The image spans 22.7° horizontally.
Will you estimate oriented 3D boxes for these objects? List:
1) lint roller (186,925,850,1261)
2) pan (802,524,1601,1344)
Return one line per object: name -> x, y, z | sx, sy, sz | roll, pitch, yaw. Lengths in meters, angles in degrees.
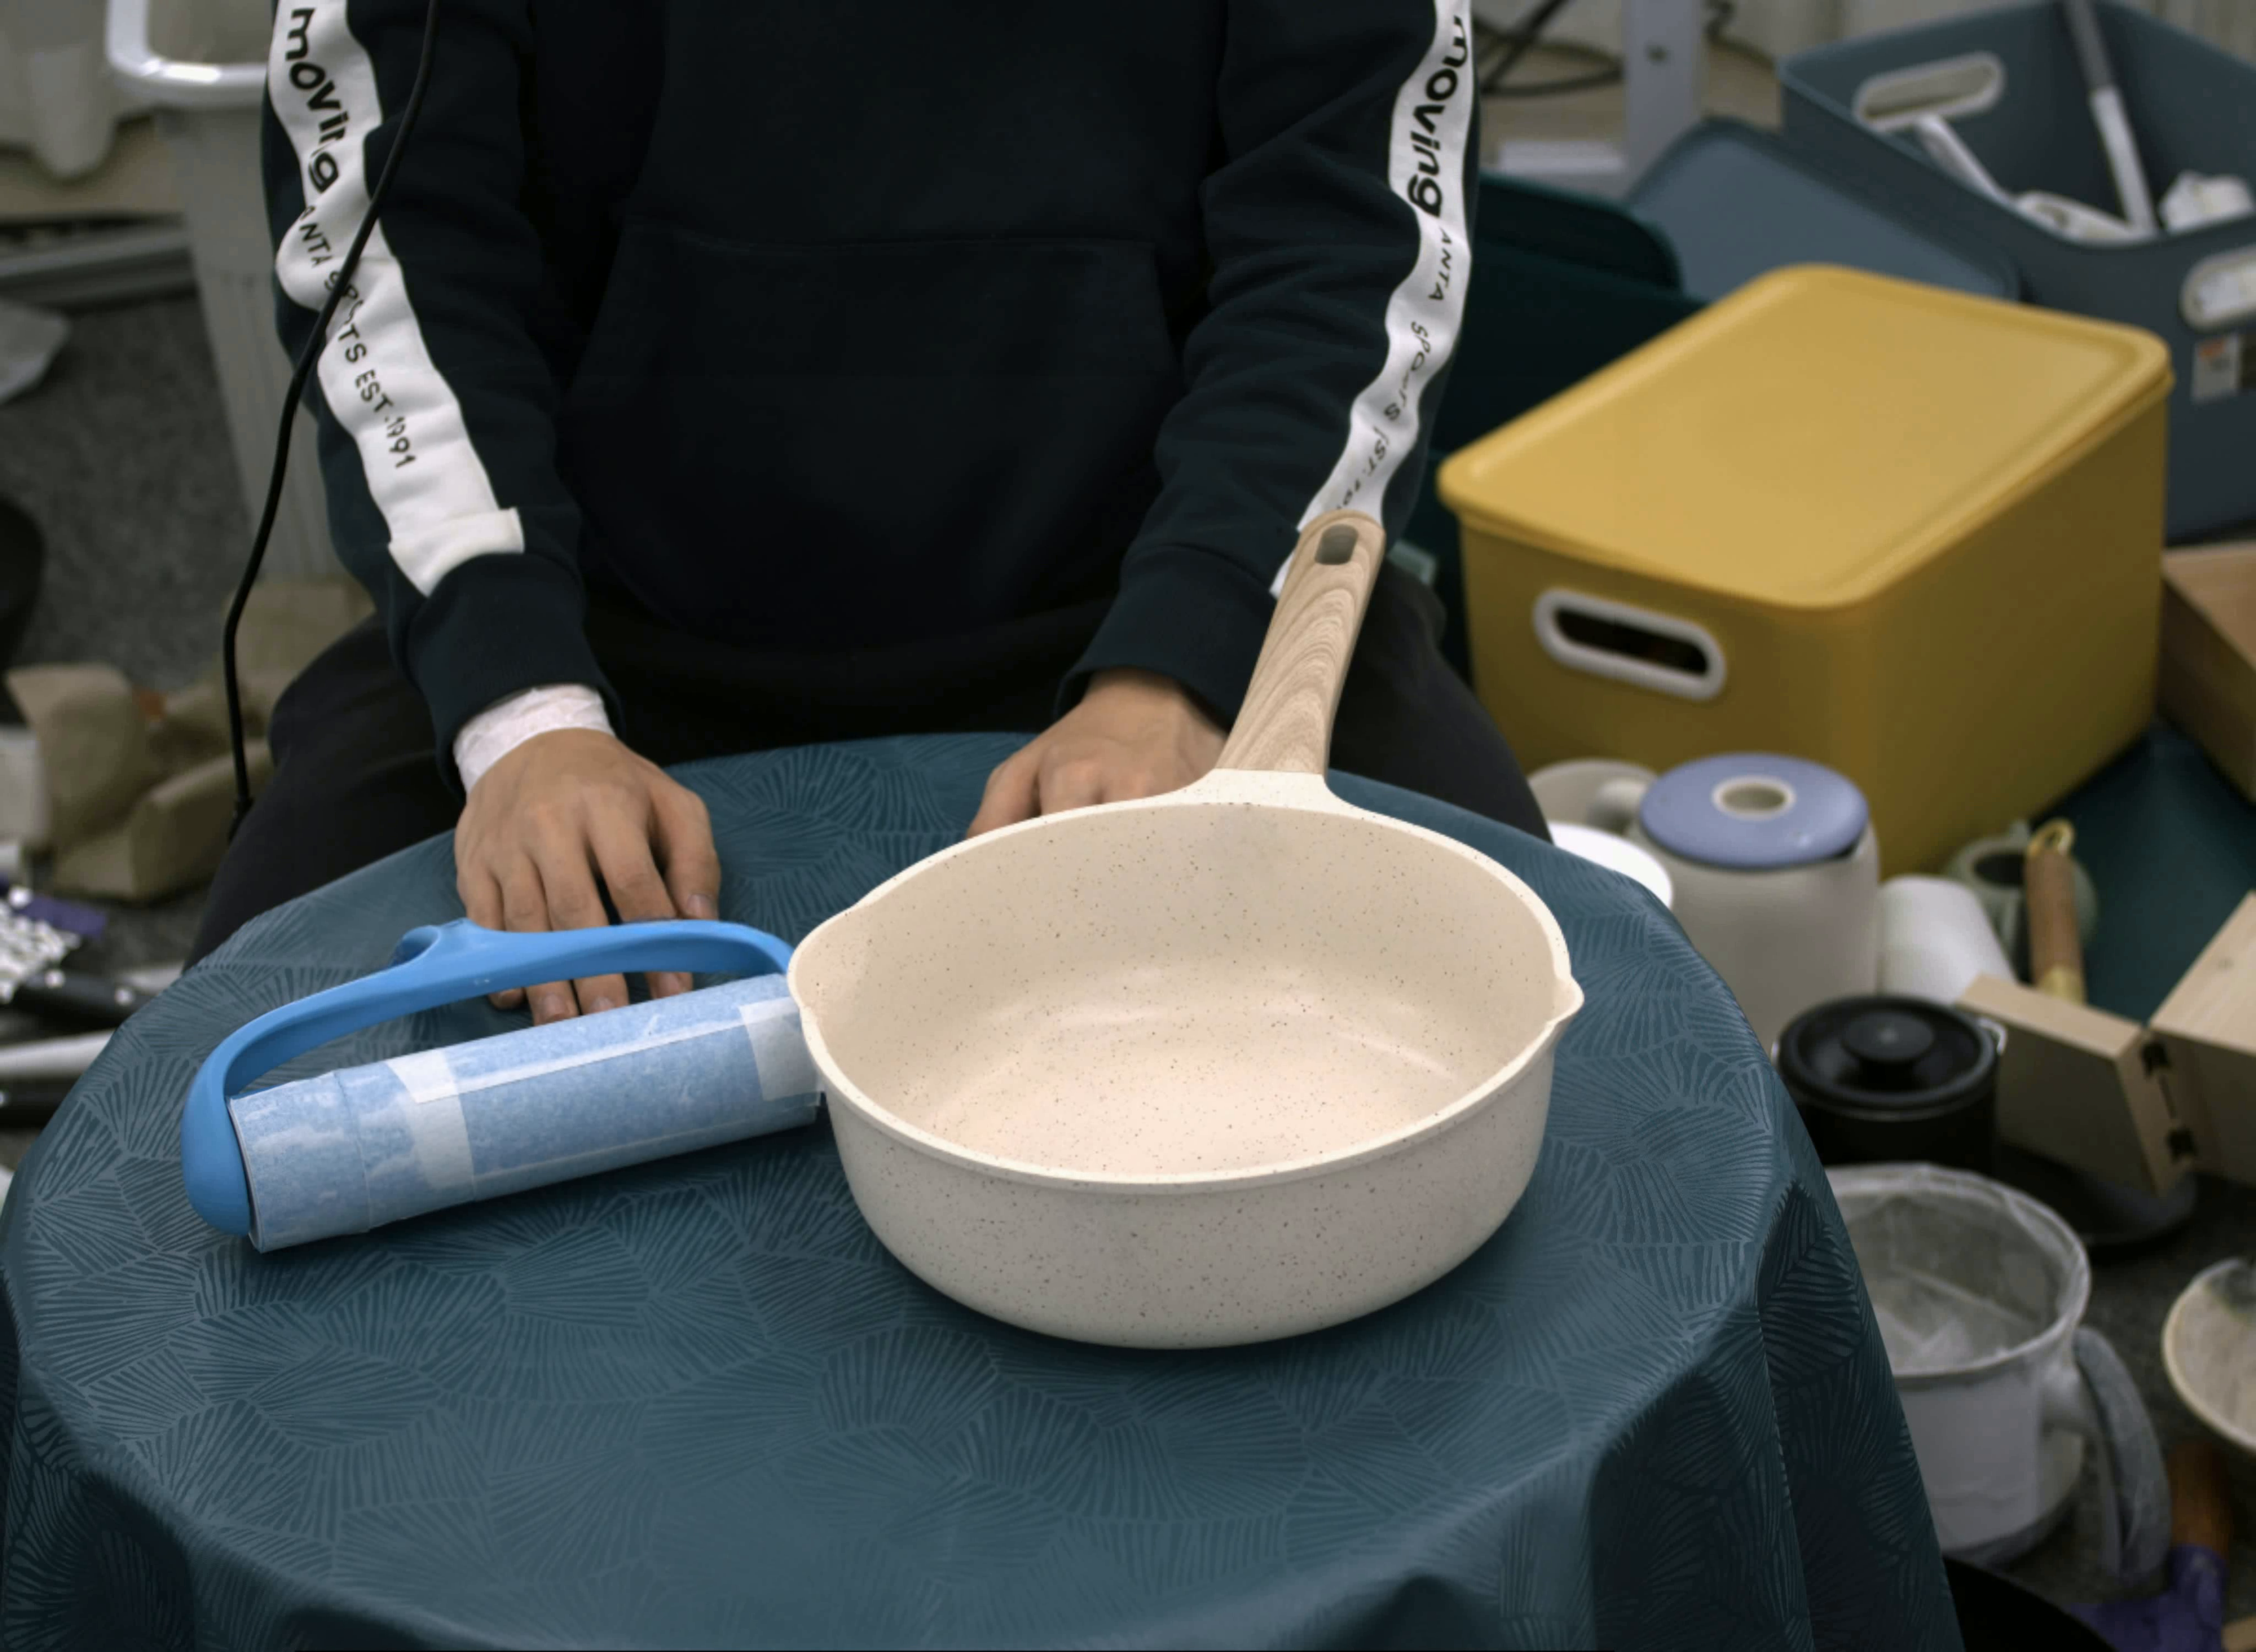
lint roller -> -0.223, 0.070, 1.920 | 0.230, 0.067, 0.181 | -15, 31, -19
pan -> 0.042, 0.034, 1.918 | 0.261, 0.101, 0.442 | 1, 27, 11
